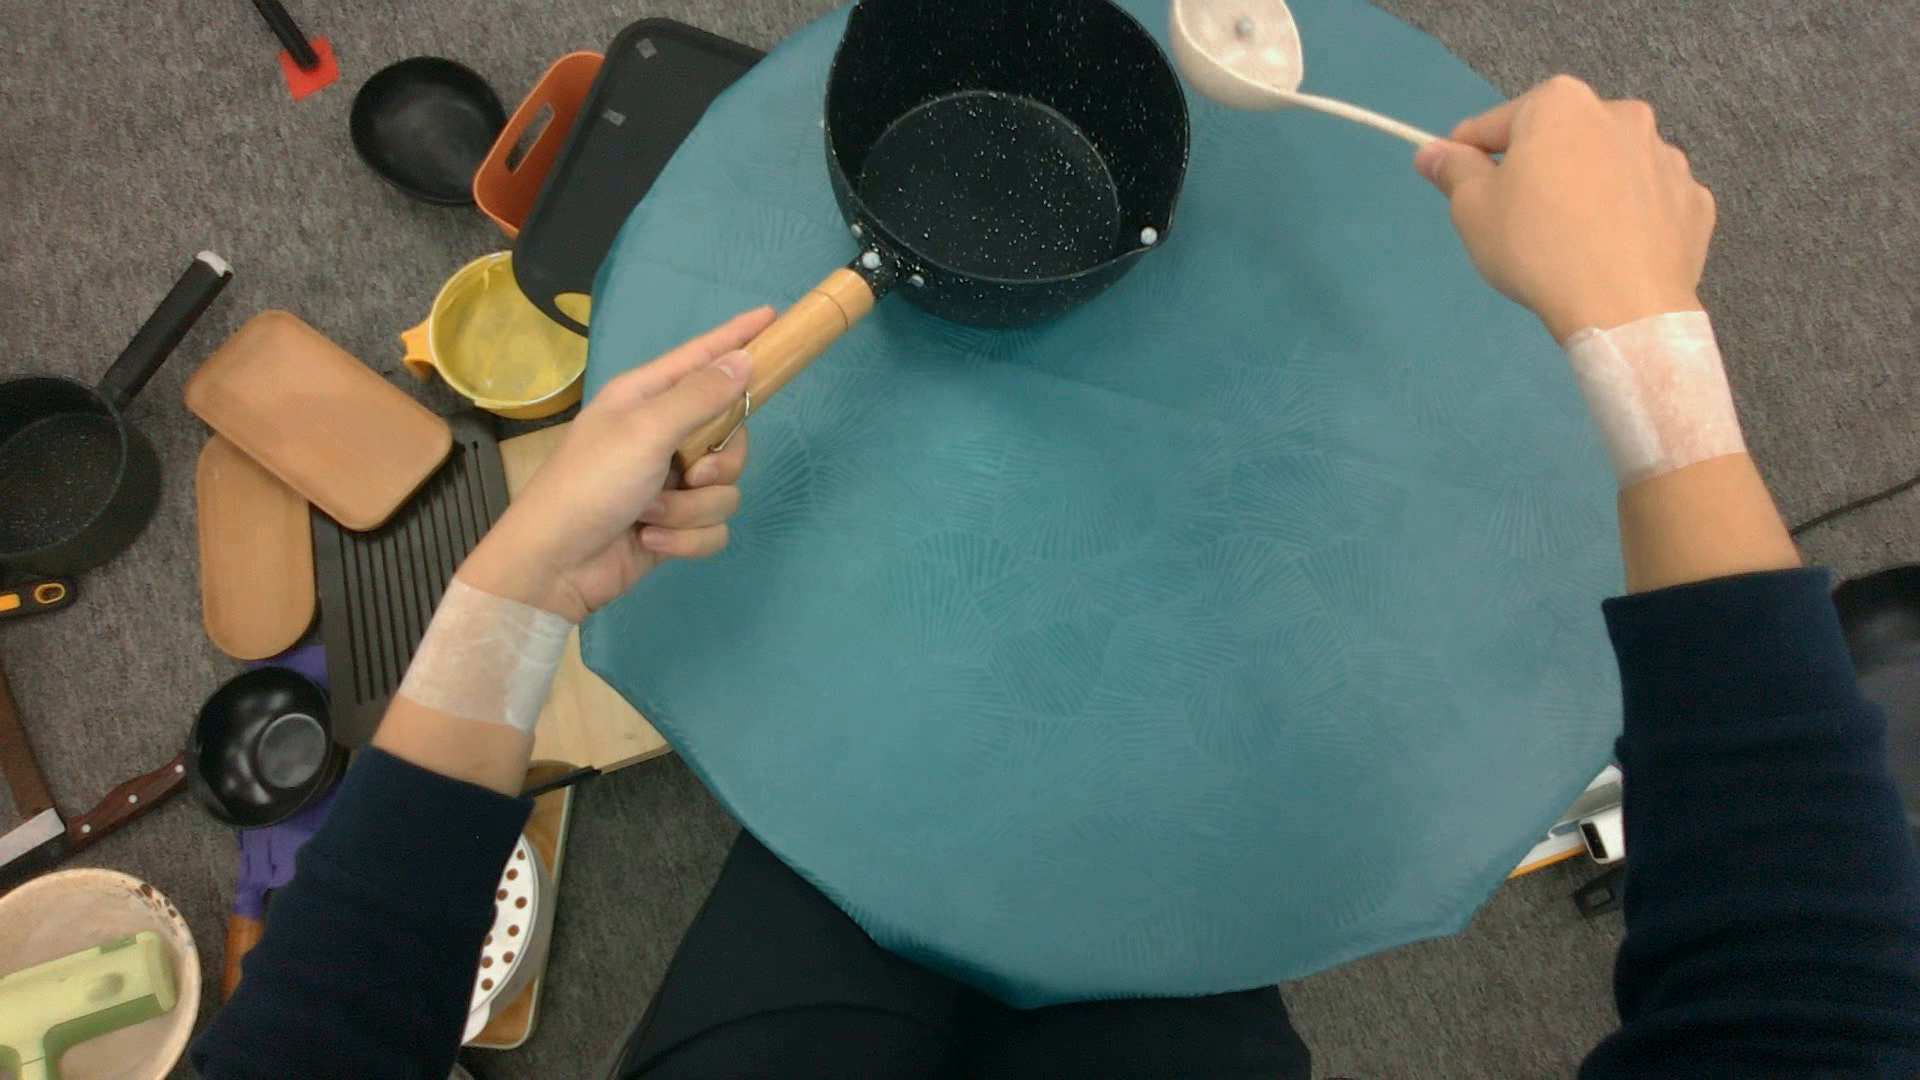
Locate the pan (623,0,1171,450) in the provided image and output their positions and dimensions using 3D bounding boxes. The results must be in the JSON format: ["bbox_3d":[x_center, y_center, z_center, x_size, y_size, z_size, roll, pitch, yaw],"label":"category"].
[{"bbox_3d":[-0.037,-0.152,0.690,0.207,0.108,0.344,38,70,5],"label":"pan"}]

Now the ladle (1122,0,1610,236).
[{"bbox_3d":[0.173,-0.208,0.595,0.089,0.069,0.275,-2,30,-37],"label":"ladle"}]
